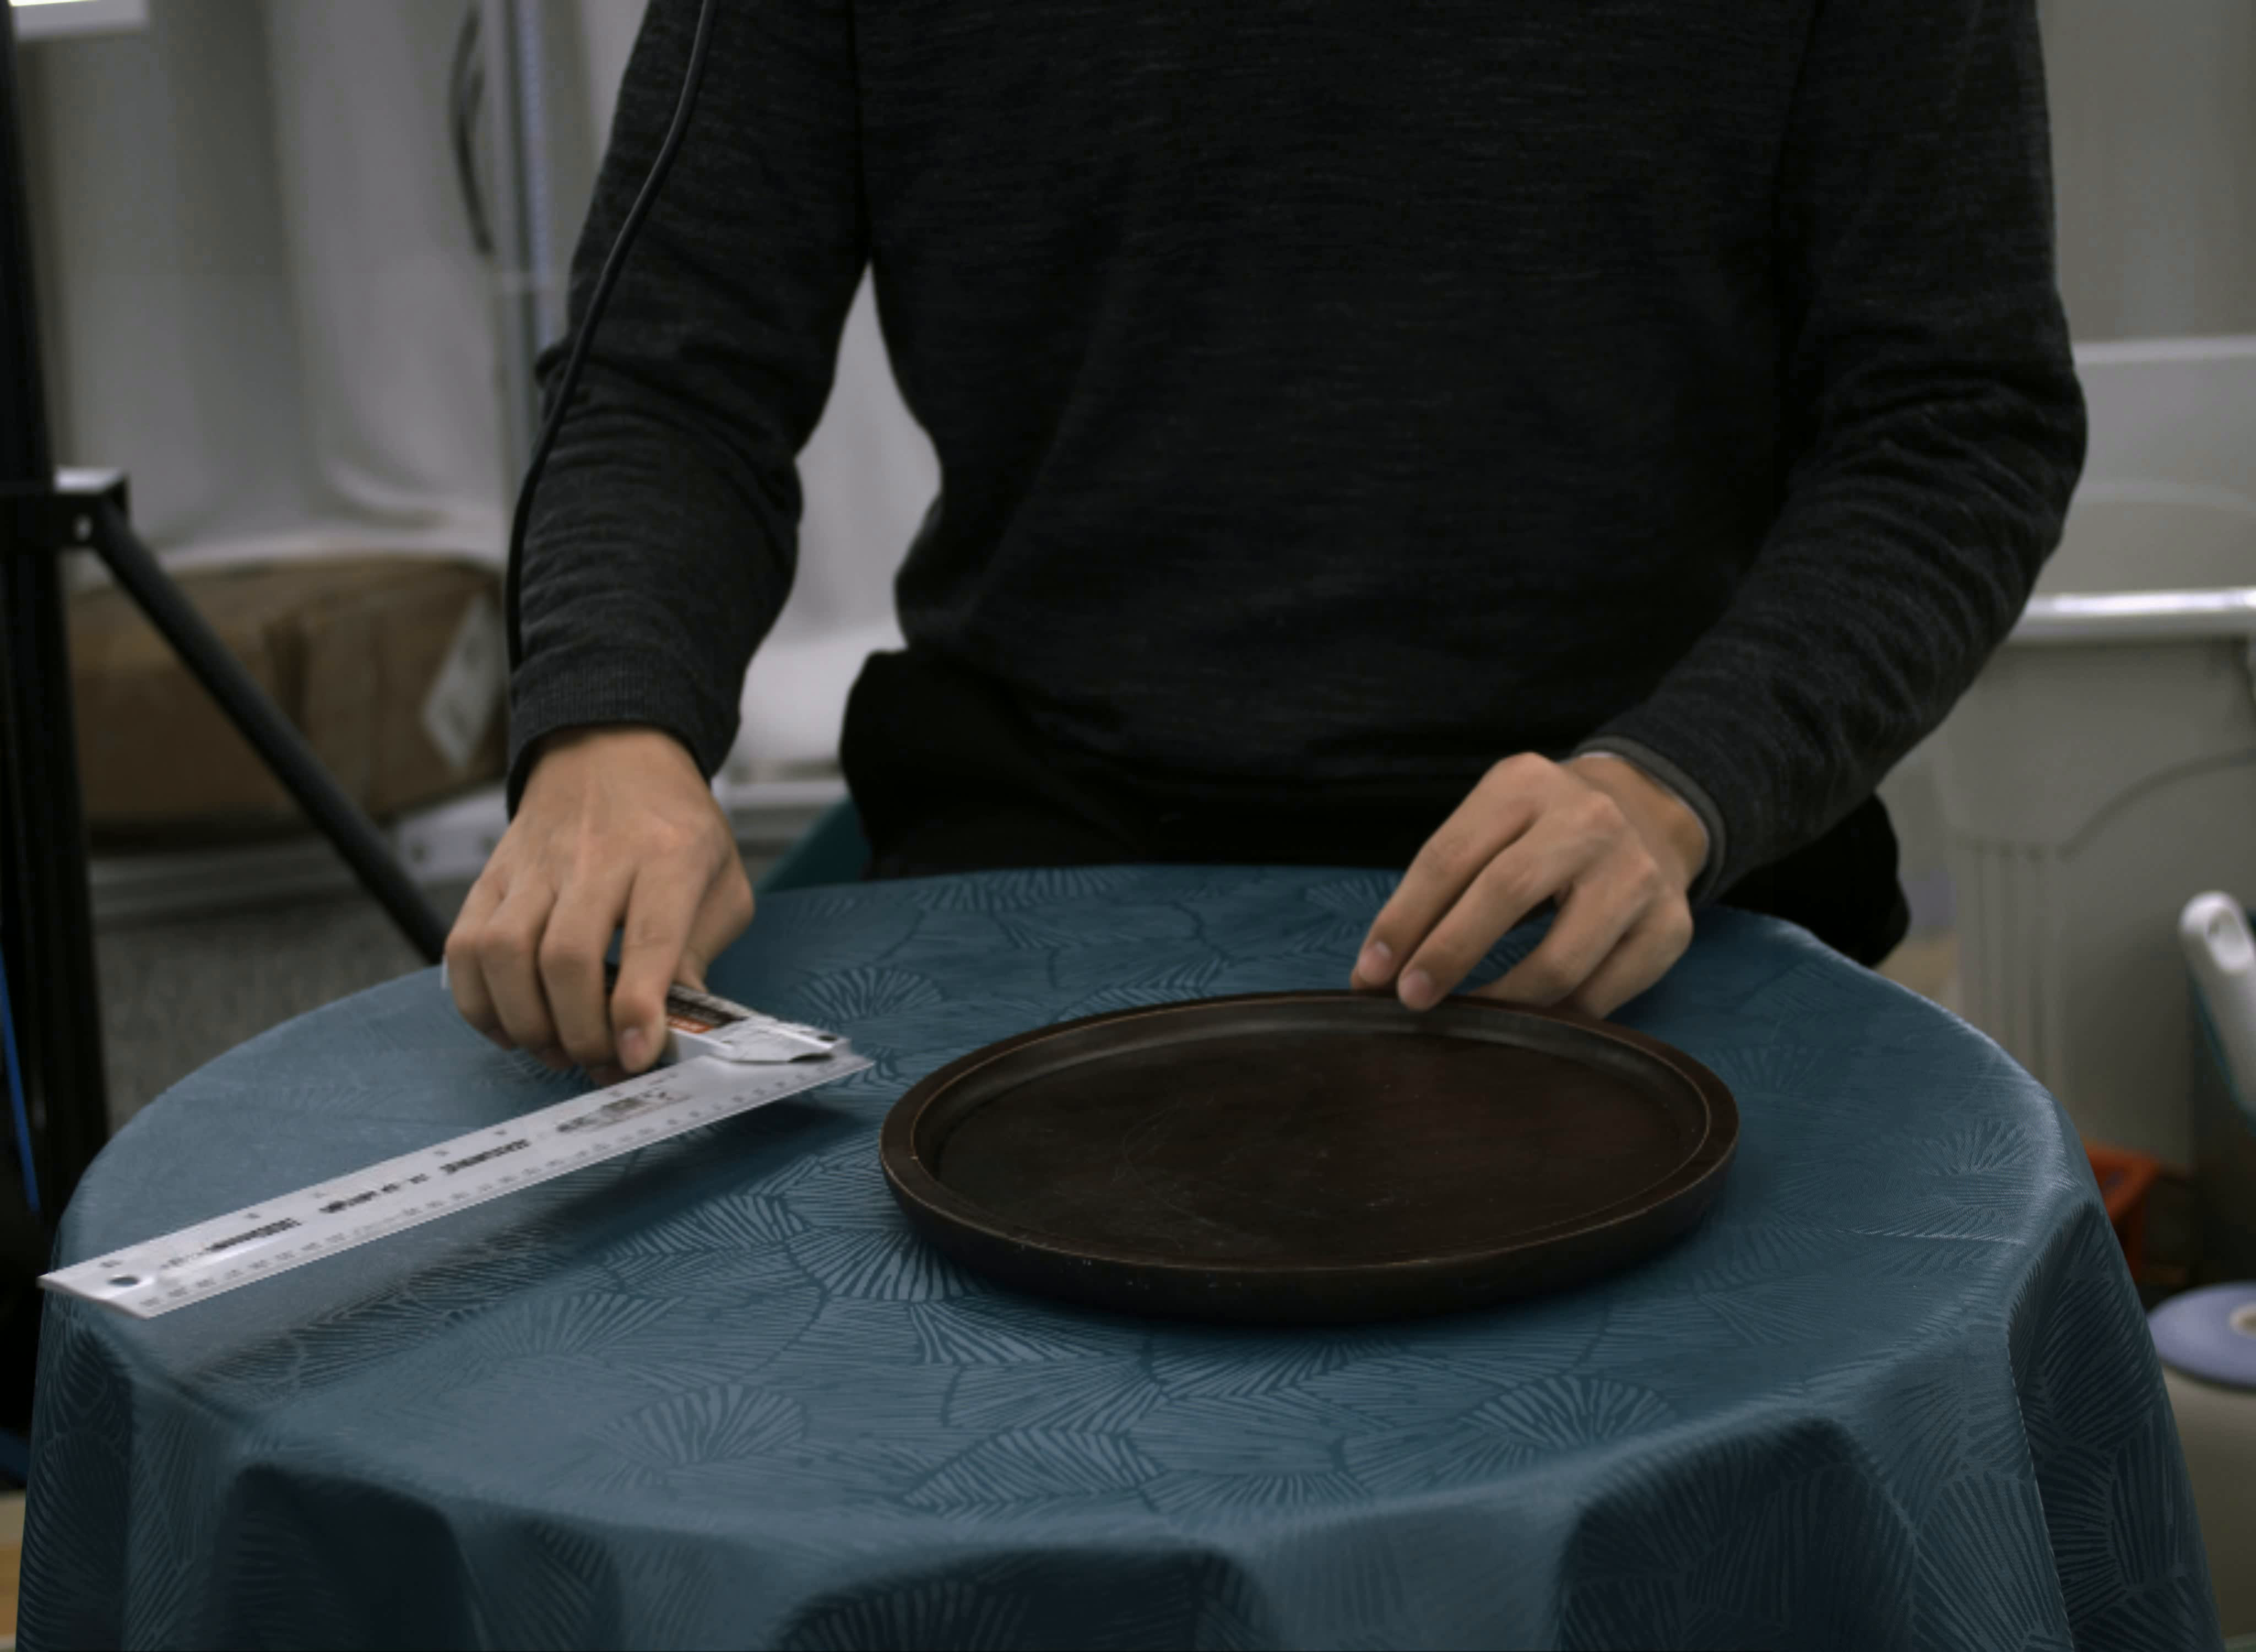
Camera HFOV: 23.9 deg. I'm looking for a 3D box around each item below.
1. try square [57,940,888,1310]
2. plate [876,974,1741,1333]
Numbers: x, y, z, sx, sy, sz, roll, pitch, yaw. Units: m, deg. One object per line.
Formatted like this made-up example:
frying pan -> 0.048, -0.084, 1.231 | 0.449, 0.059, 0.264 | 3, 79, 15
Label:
try square -> -0.223, 0.084, 1.565 | 0.155, 0.016, 0.306 | 14, 19, 35
plate -> 0.053, 0.096, 1.549 | 0.253, 0.029, 0.256 | -4, 16, 0
